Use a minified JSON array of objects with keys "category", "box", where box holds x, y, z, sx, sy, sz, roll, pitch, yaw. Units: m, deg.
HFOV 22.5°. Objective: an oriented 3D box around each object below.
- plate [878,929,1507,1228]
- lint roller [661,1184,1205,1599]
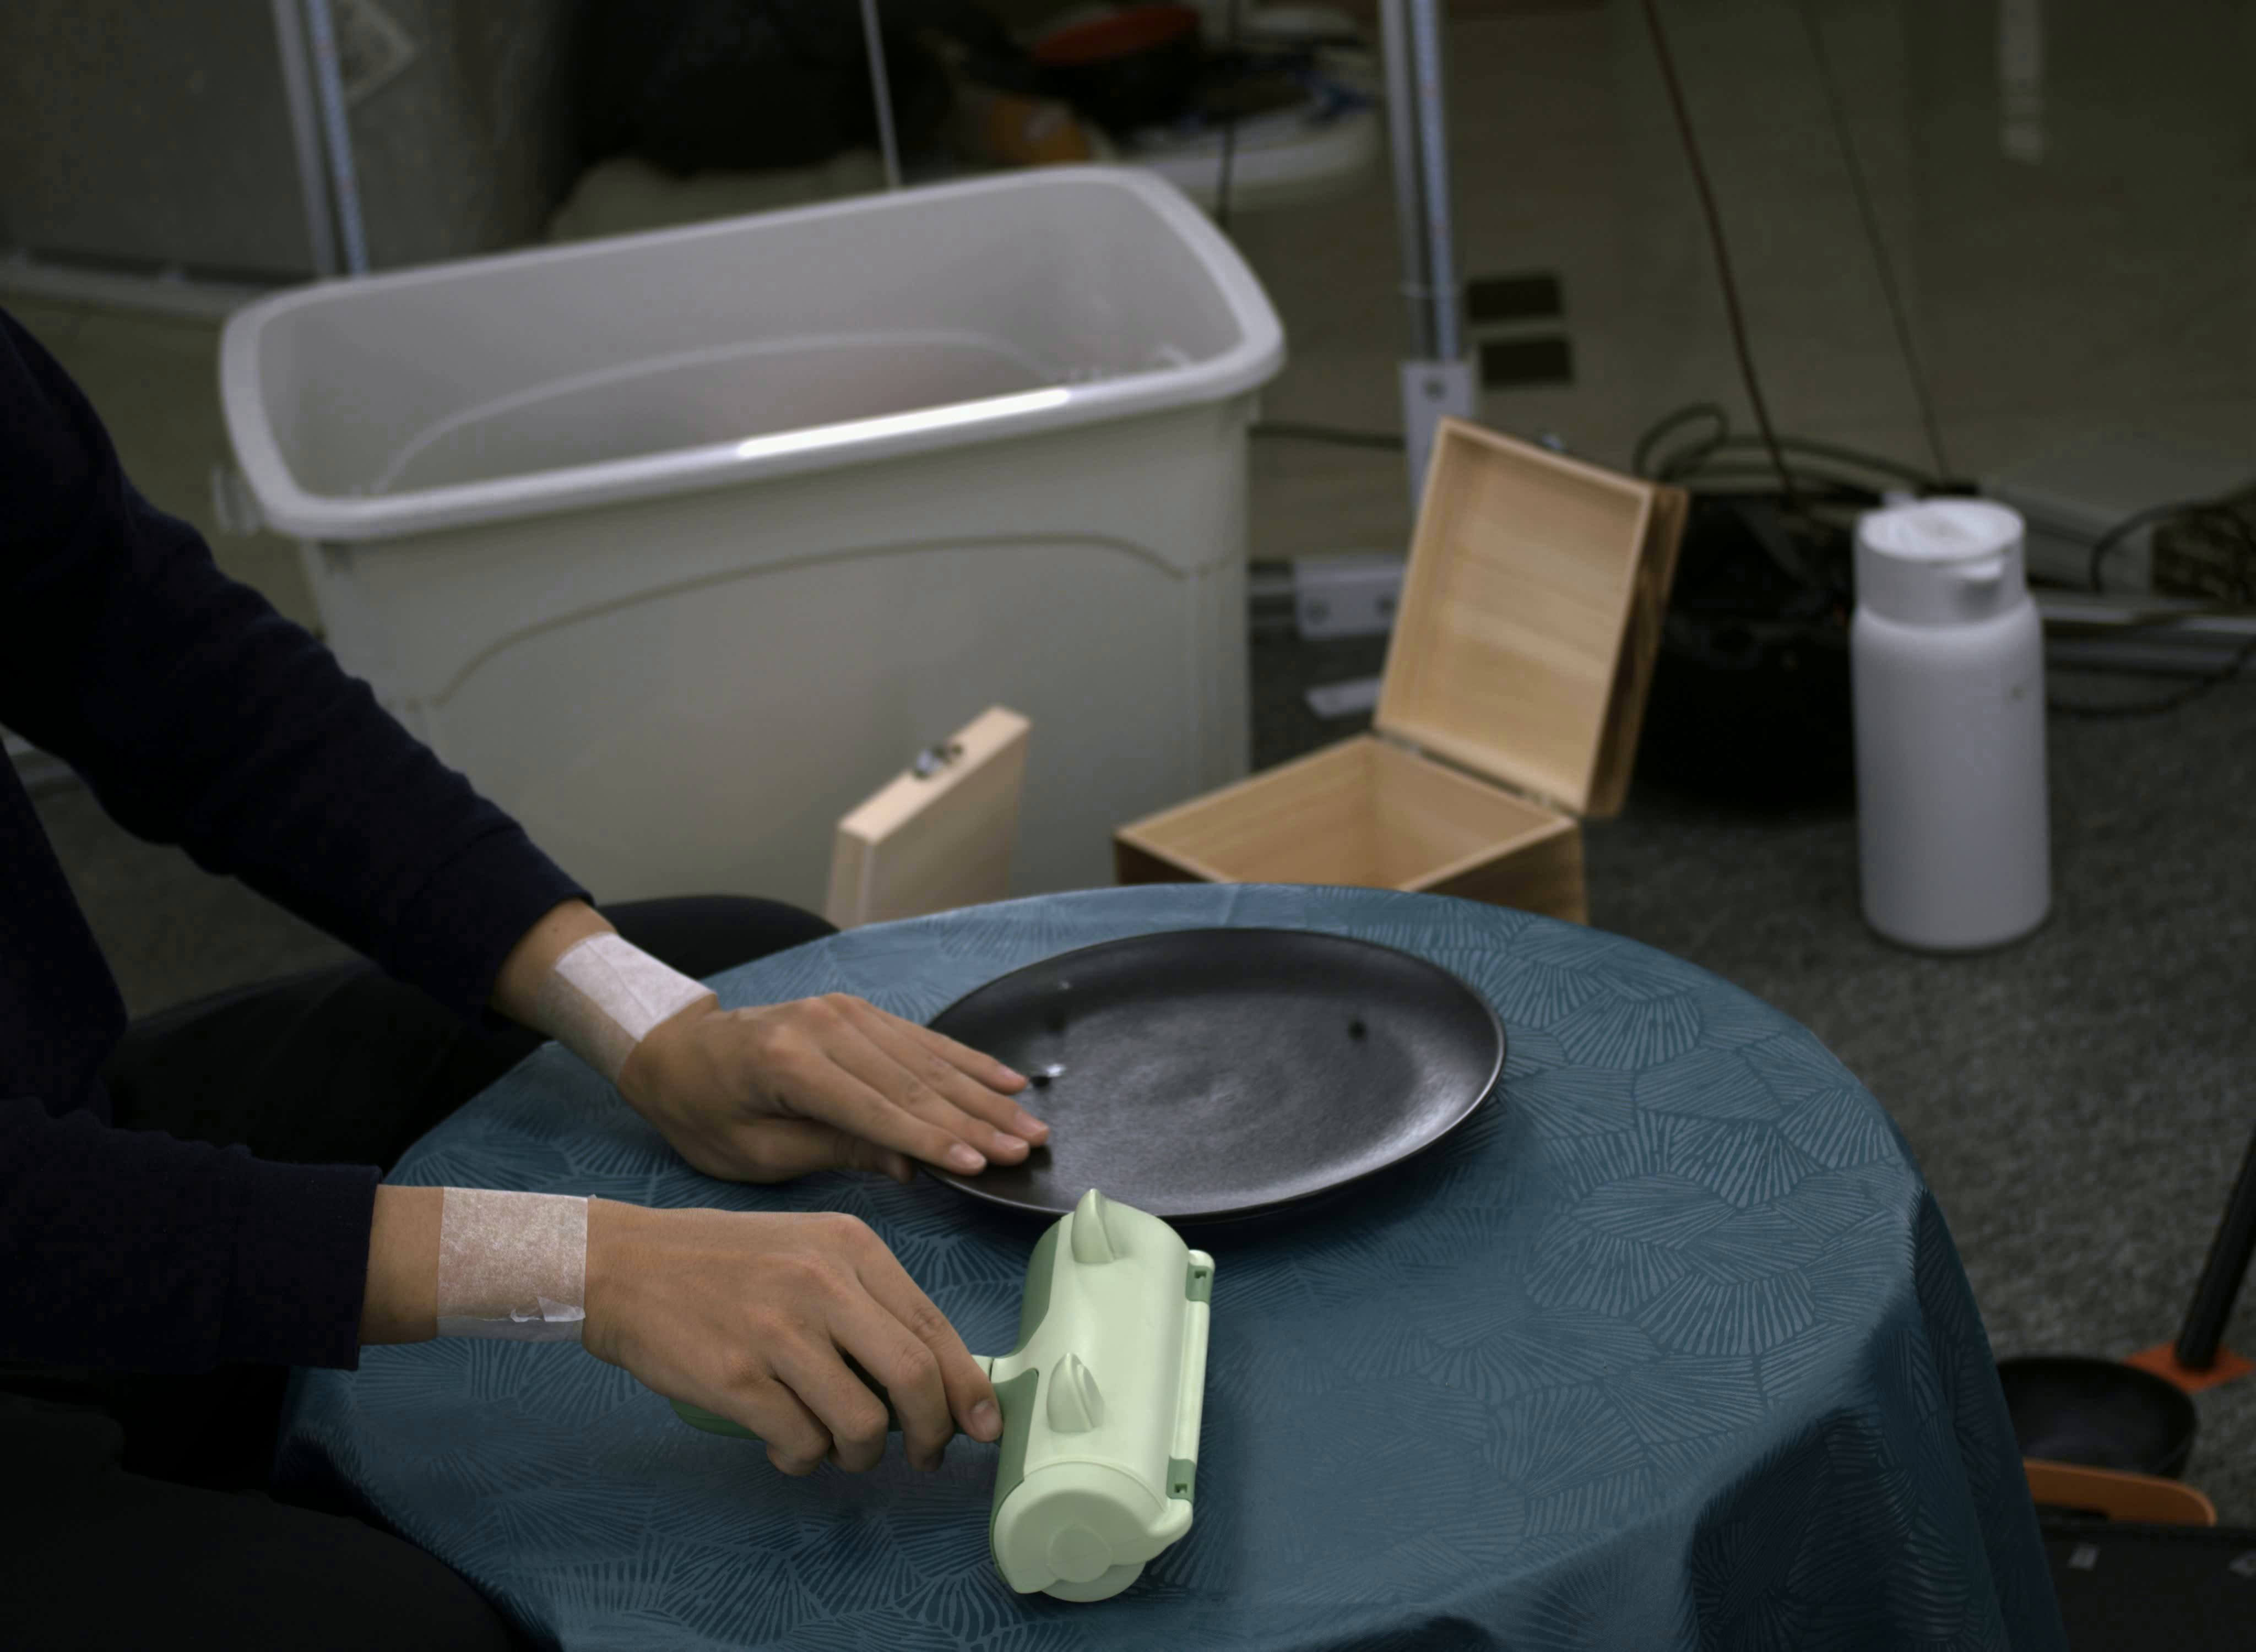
[{"category":"plate","box":[0.025,0.101,2.190,0.244,0.024,0.241,-4,25,2]},{"category":"lint roller","box":[-0.066,0.178,1.956,0.183,0.083,0.196,12,25,-3]}]
